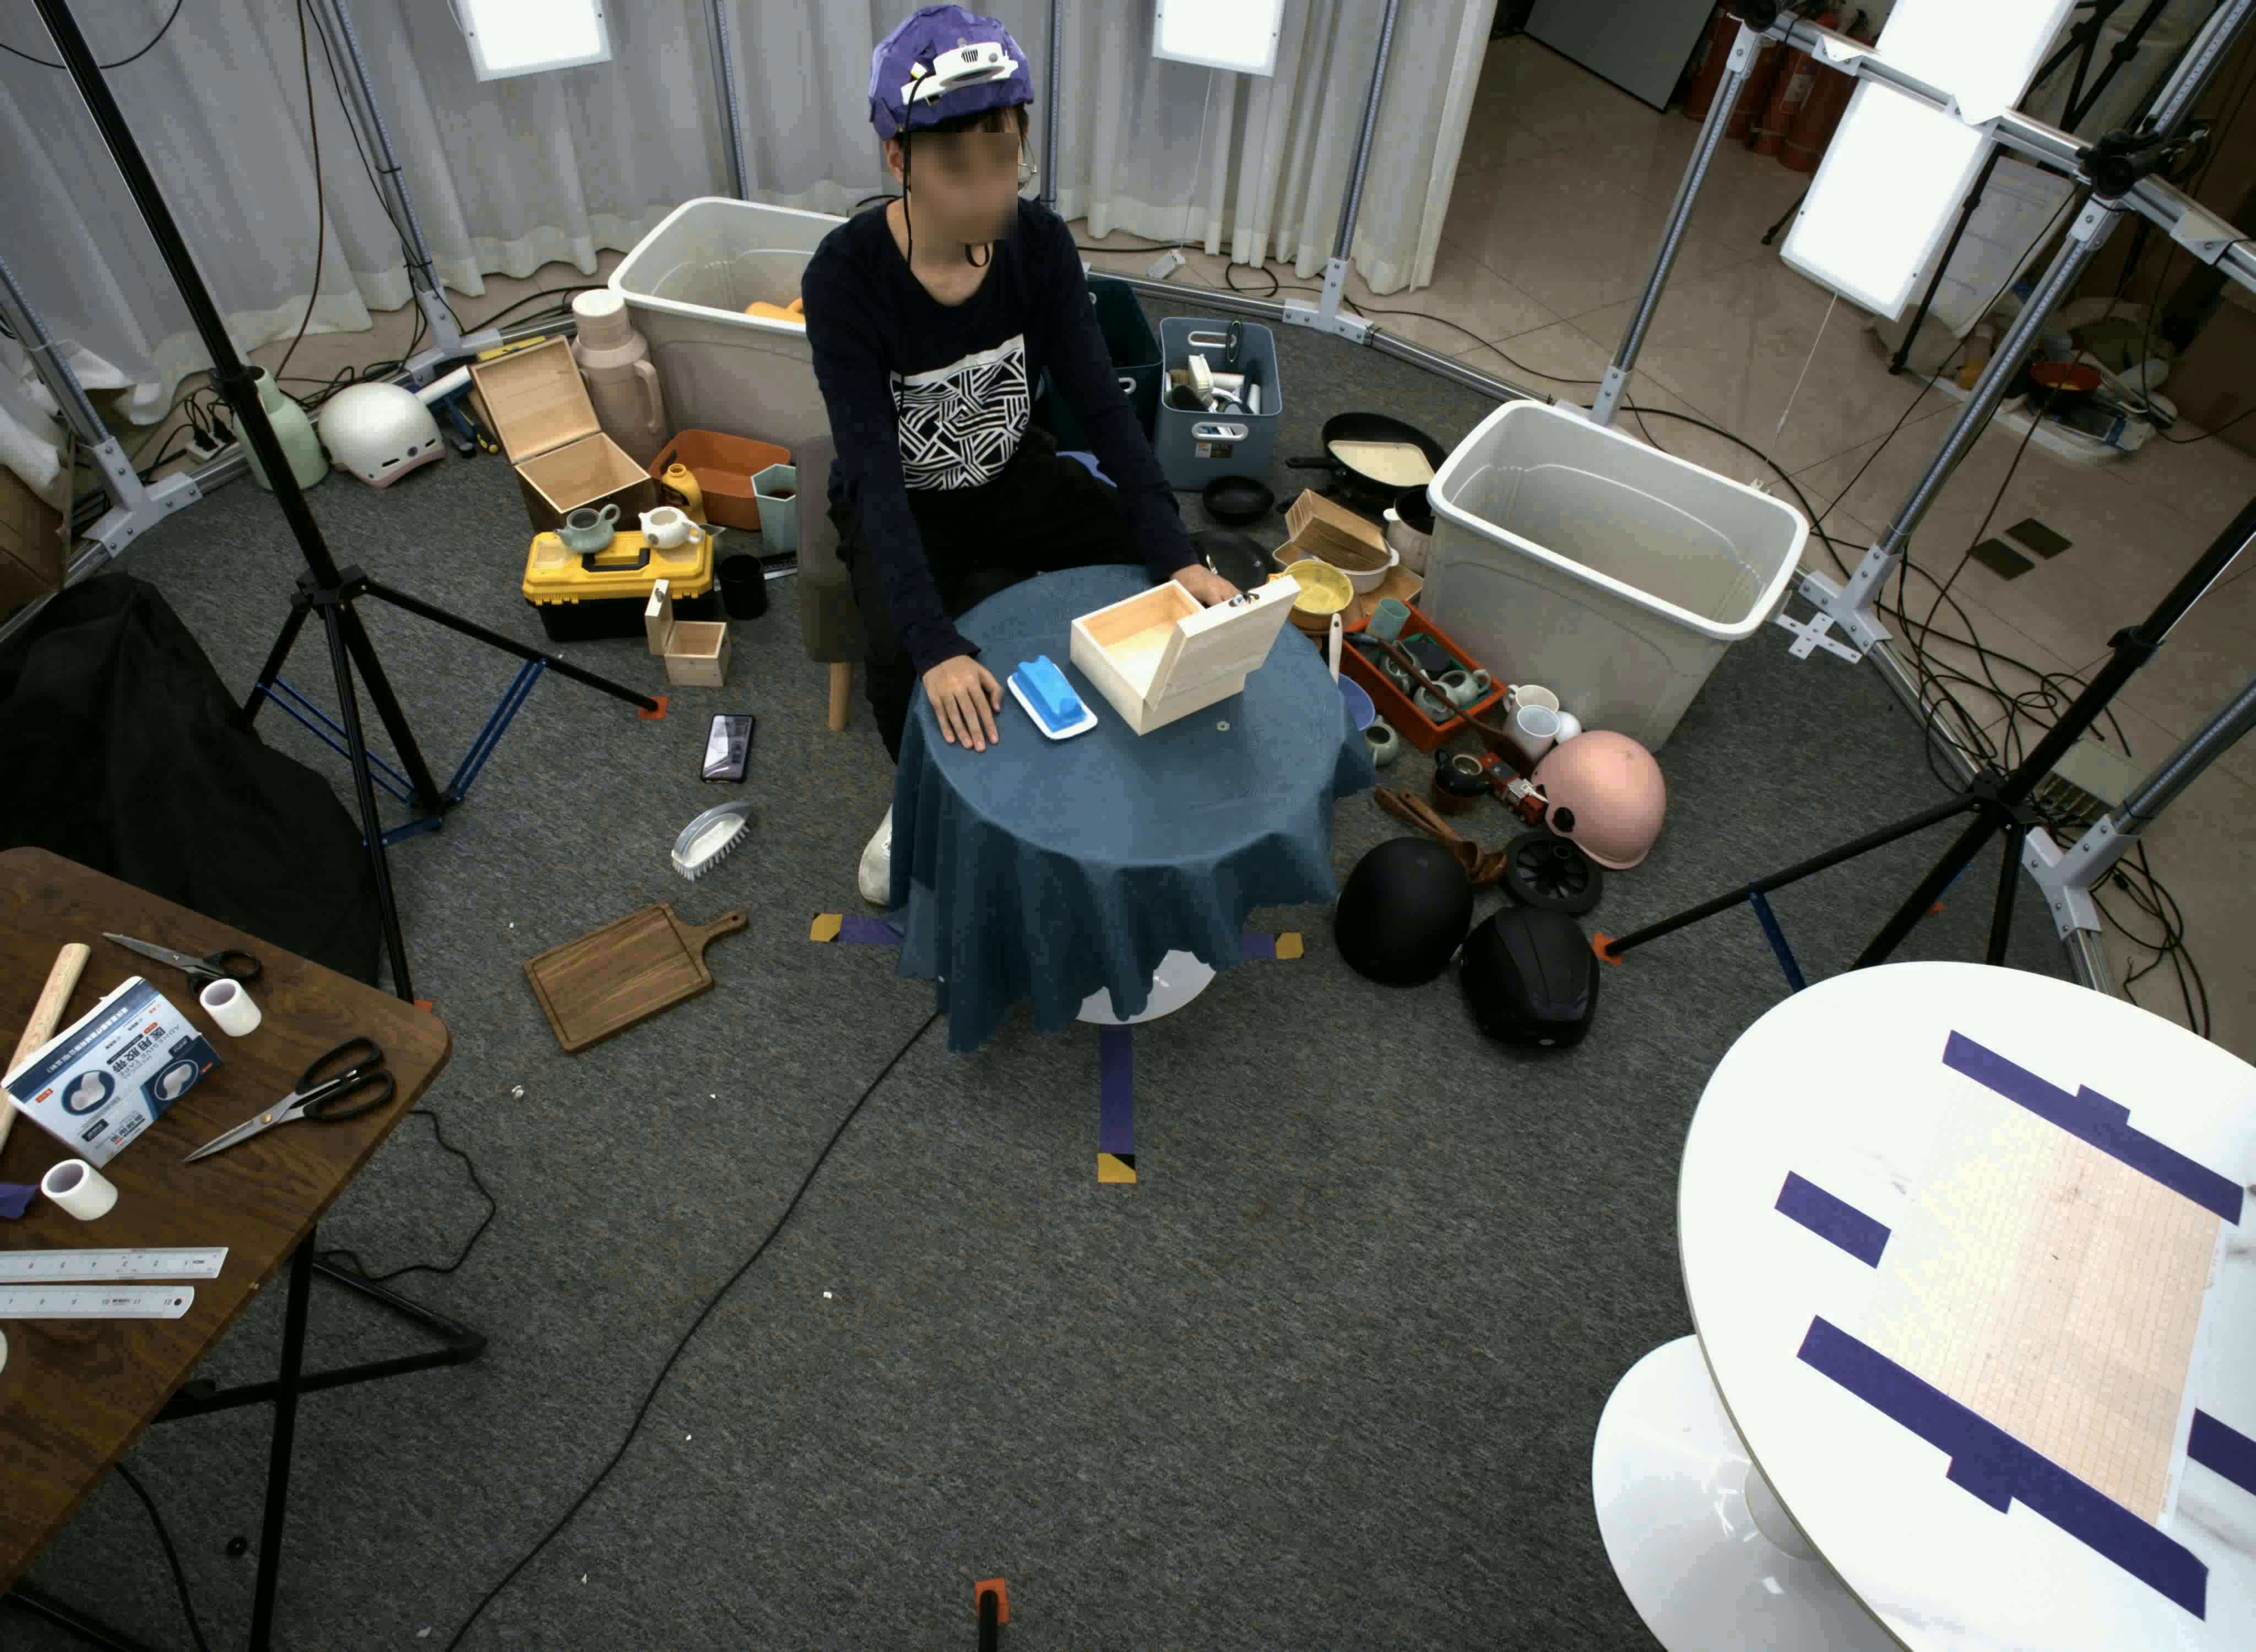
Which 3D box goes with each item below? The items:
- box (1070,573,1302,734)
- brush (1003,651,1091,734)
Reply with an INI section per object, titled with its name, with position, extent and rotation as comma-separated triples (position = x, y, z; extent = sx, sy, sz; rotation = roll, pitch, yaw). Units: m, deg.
[box]
position = 0.066, -0.277, 1.750
extent = 0.182, 0.247, 0.270
rotation = -25, 55, -25
[brush]
position = -0.111, -0.193, 1.789
extent = 0.084, 0.054, 0.147
rotation = -18, 54, -23
